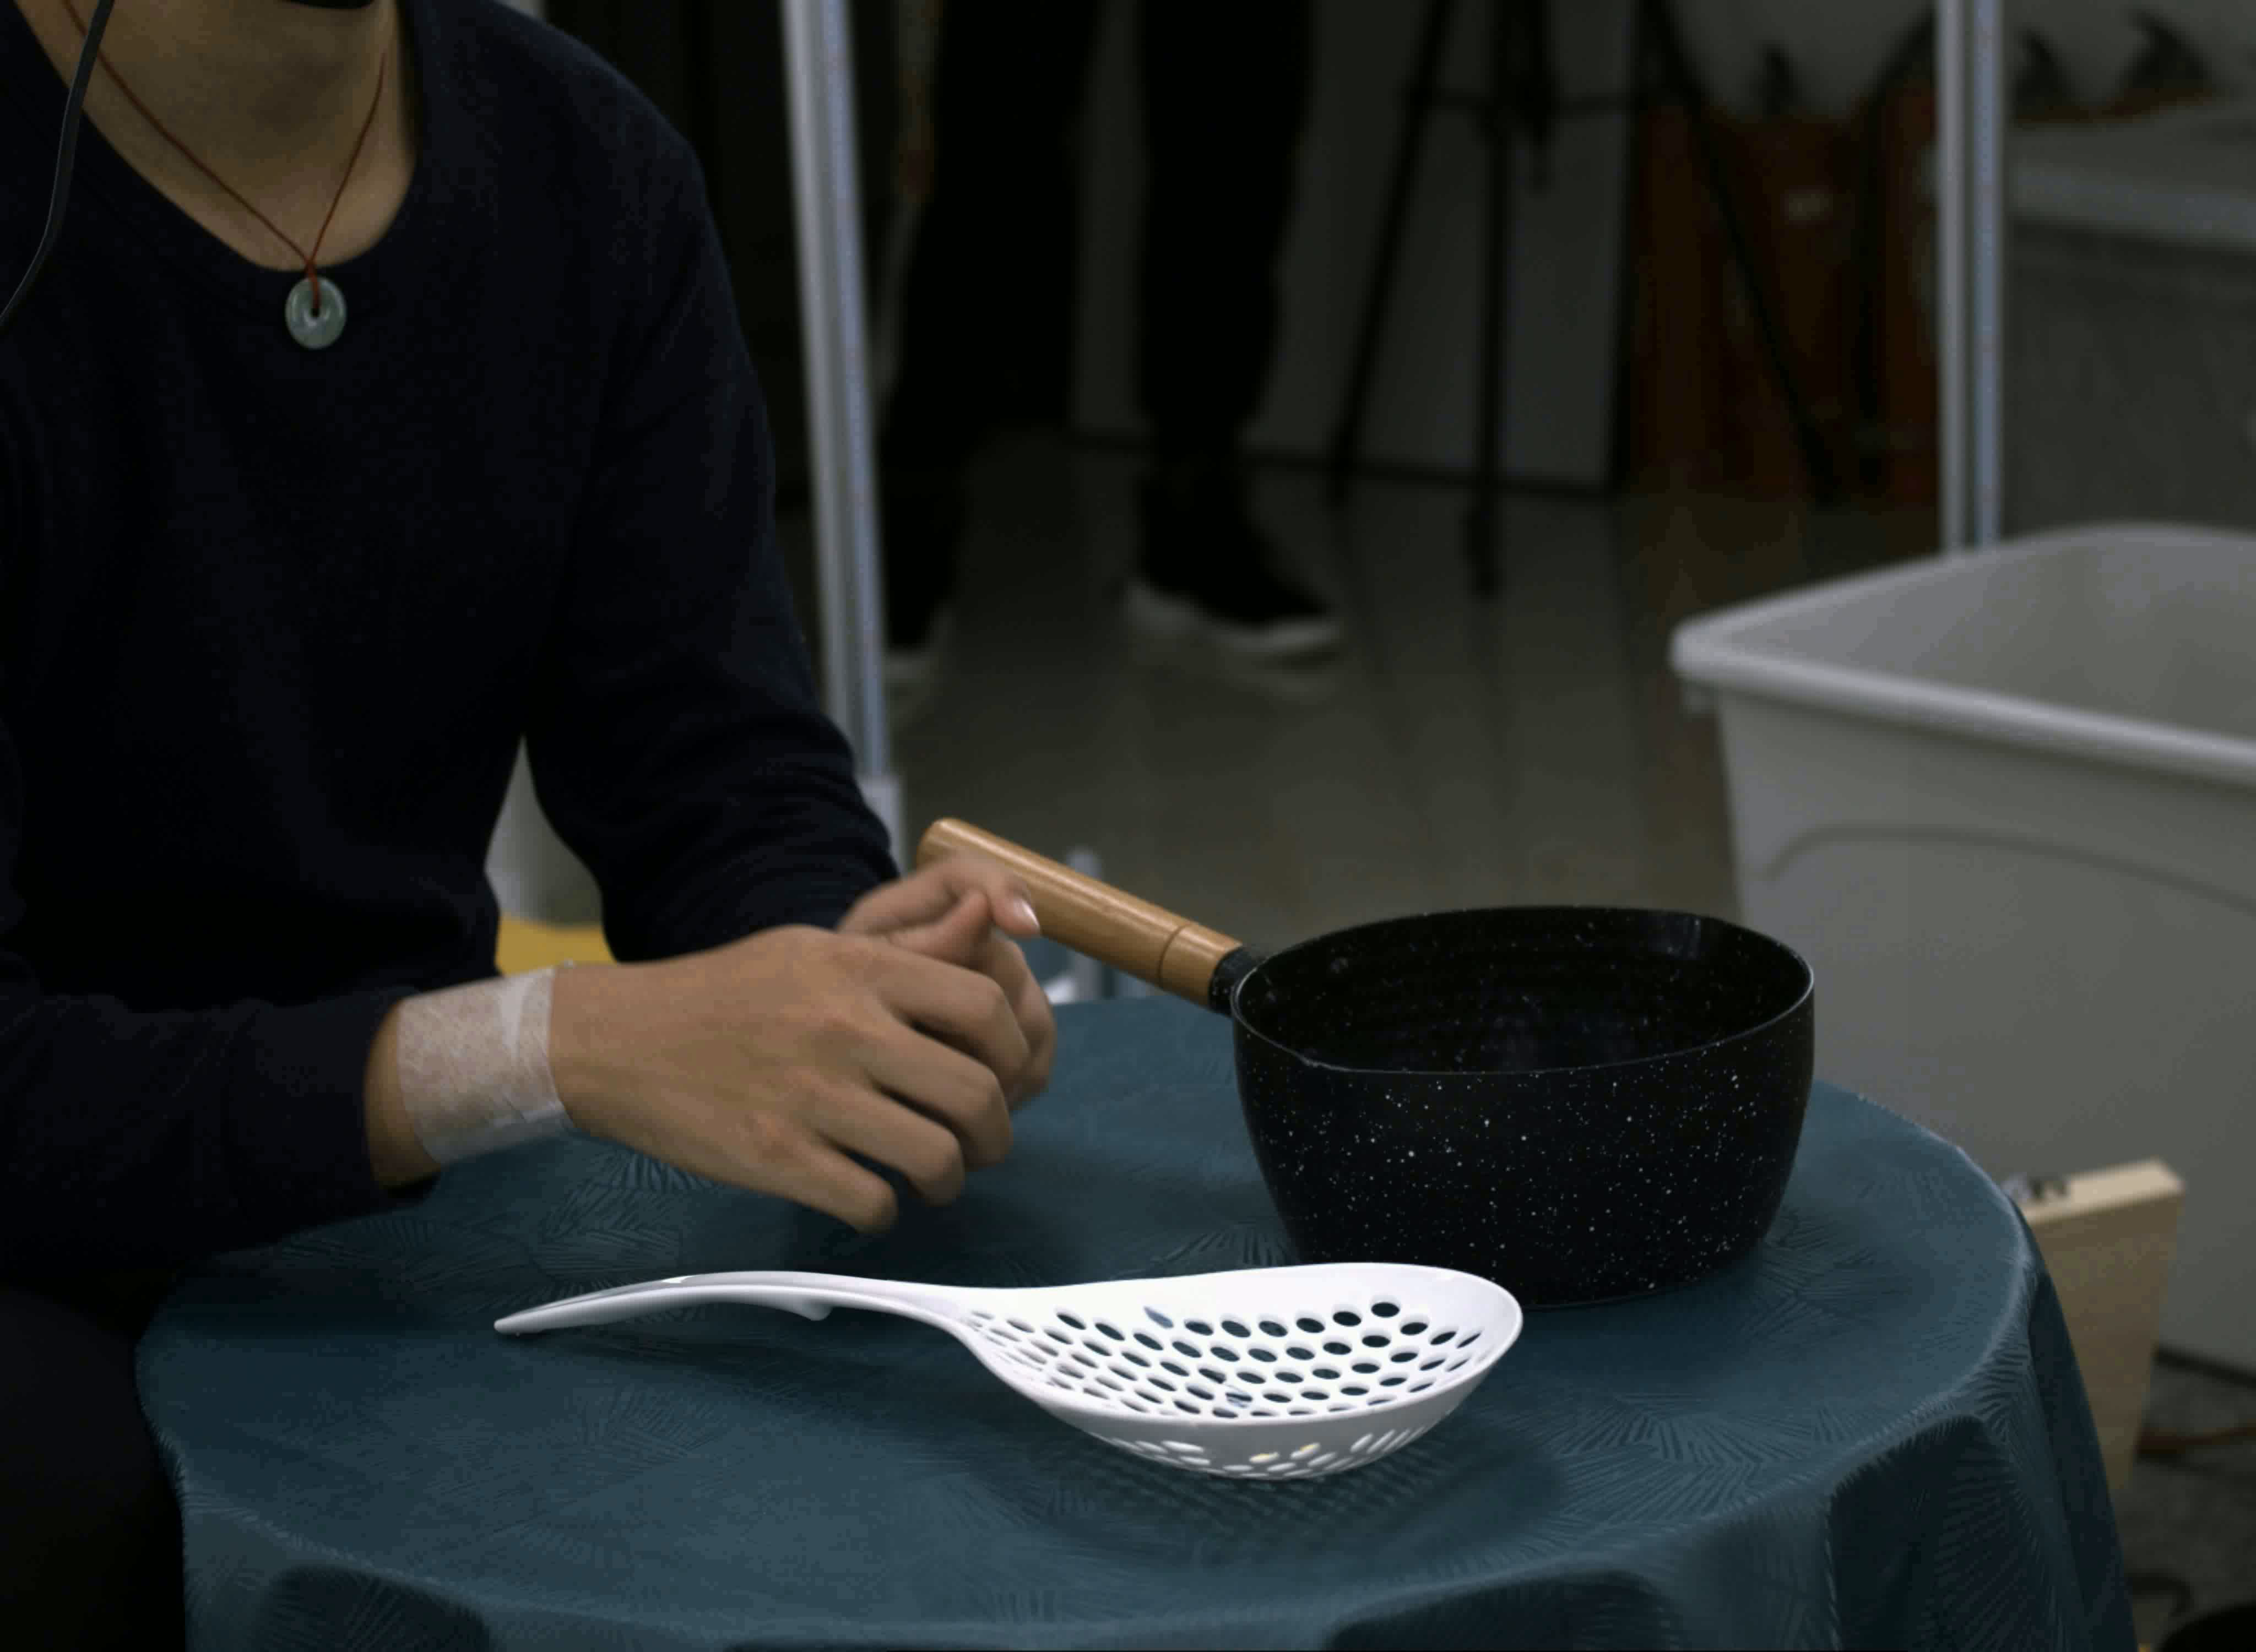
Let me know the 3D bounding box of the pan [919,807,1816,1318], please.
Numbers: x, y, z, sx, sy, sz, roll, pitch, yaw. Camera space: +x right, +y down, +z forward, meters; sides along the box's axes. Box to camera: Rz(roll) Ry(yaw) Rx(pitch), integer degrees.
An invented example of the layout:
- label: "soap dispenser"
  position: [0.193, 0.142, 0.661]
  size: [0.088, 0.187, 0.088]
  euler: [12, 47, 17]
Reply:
- label: "pan"
  position: [0.064, 0.068, 1.738]
  size: [0.345, 0.109, 0.203]
  euler: [9, 20, 39]

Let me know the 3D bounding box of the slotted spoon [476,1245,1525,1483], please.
- label: "slotted spoon"
  position: [-0.047, 0.150, 1.575]
  size: [0.349, 0.051, 0.134]
  euler: [6, 19, 32]
